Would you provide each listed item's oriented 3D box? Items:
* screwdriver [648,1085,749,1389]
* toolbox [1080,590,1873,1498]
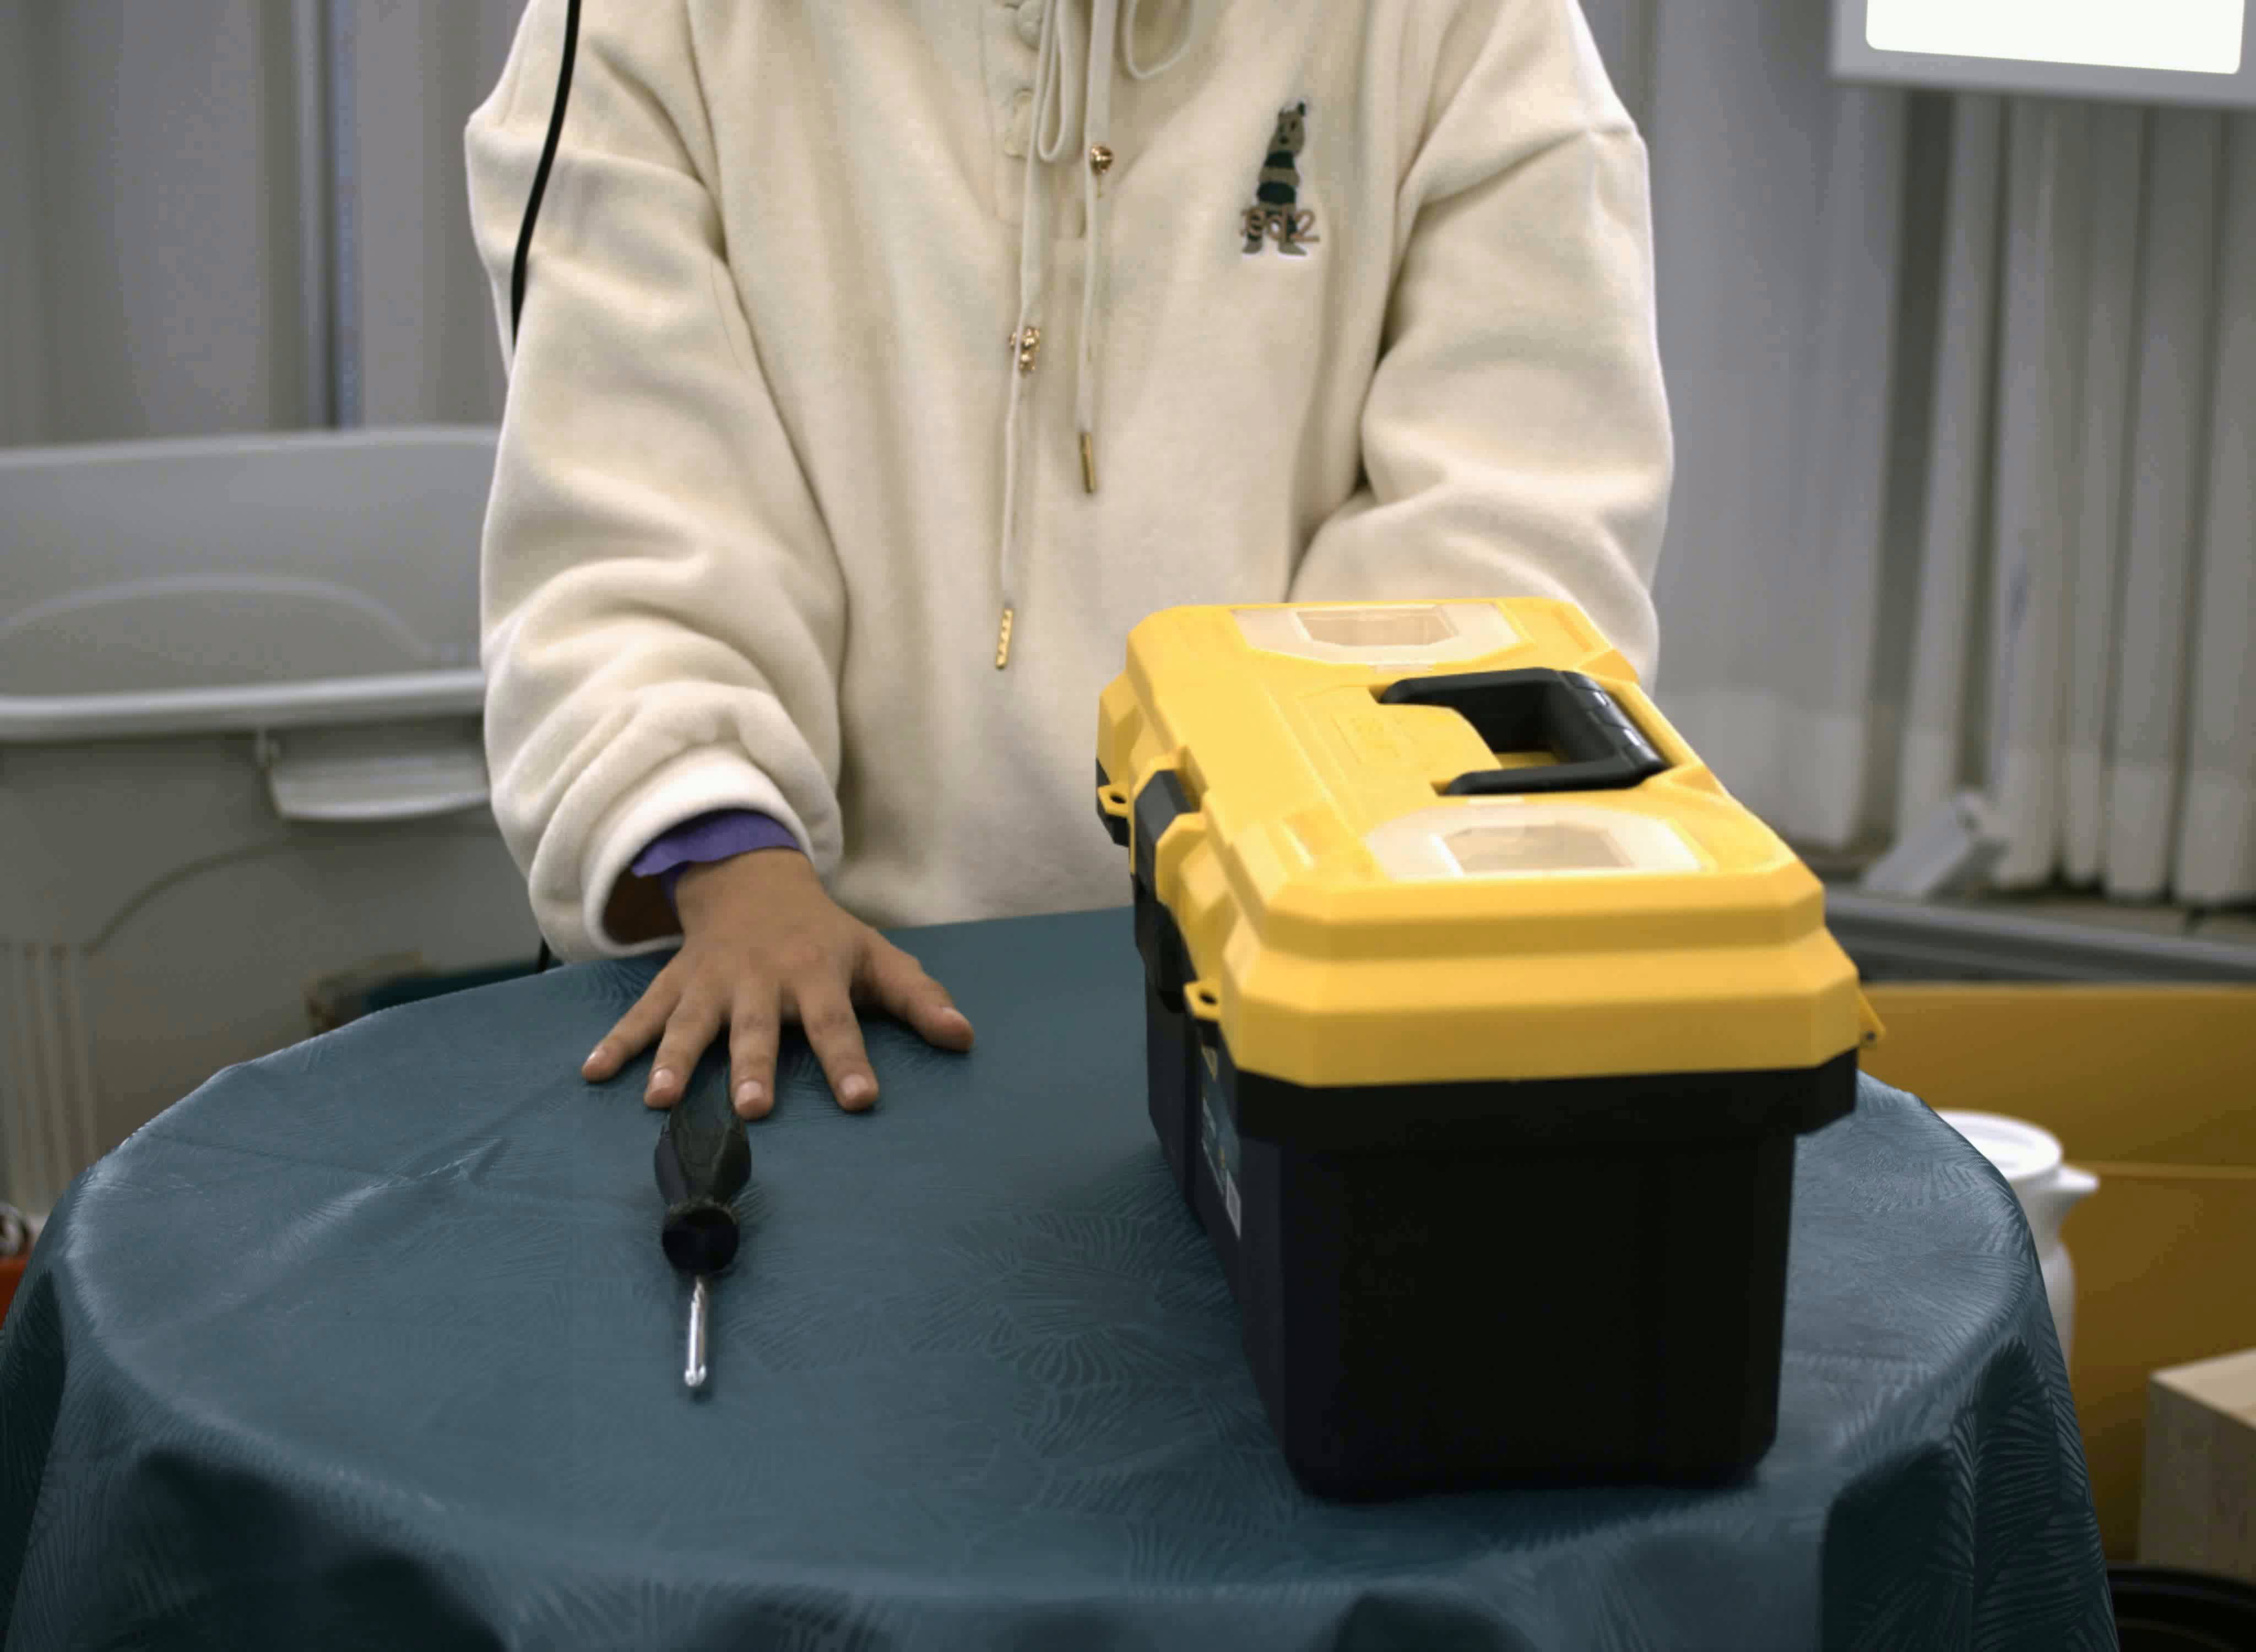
[{"bbox_3d":[-0.128,0.118,1.536,0.031,0.032,0.195,0,17,-2],"label":"screwdriver"},{"bbox_3d":[0.091,0.052,1.512,0.181,0.174,0.349,-2,16,-6],"label":"toolbox"}]
